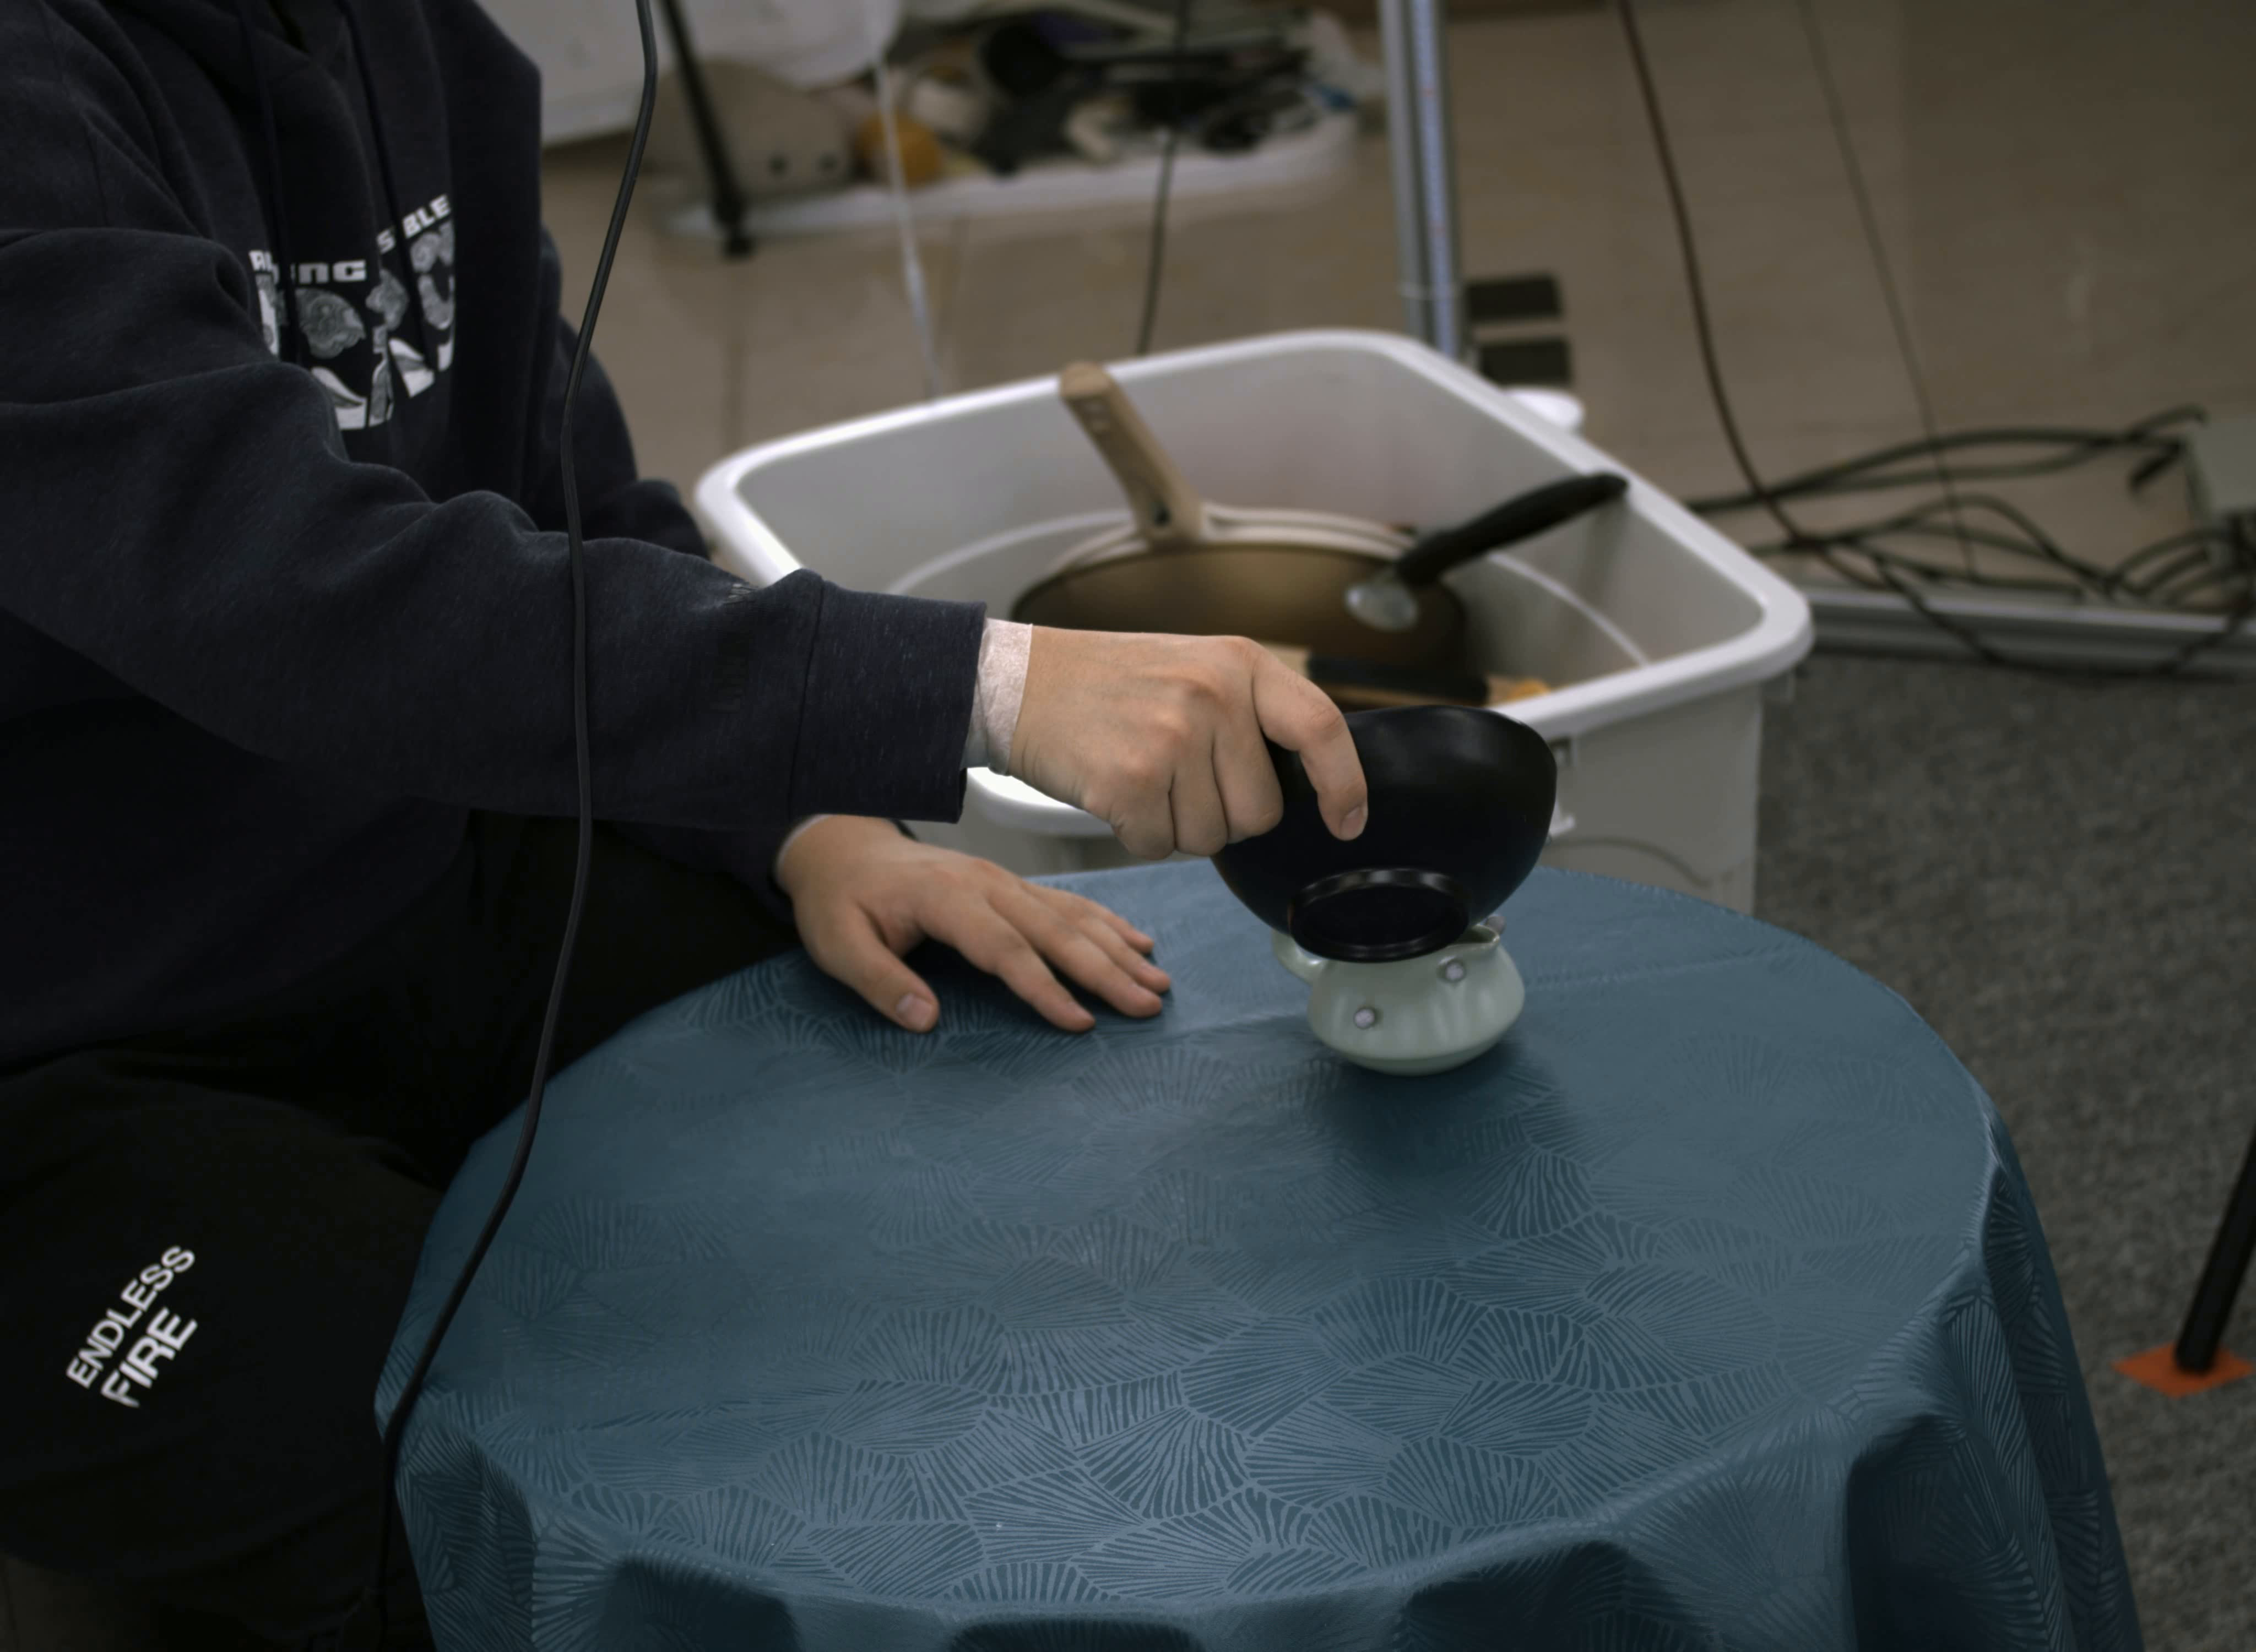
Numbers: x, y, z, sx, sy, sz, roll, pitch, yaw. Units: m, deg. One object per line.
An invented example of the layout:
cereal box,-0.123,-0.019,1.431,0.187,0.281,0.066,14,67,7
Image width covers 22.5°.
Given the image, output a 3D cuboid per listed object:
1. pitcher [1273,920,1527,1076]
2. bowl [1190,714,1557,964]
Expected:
pitcher,0.103,0.060,2.226,0.107,0.061,0.085,10,29,34
bowl,0.093,0.010,2.115,0.137,0.172,0.066,-8,66,10
